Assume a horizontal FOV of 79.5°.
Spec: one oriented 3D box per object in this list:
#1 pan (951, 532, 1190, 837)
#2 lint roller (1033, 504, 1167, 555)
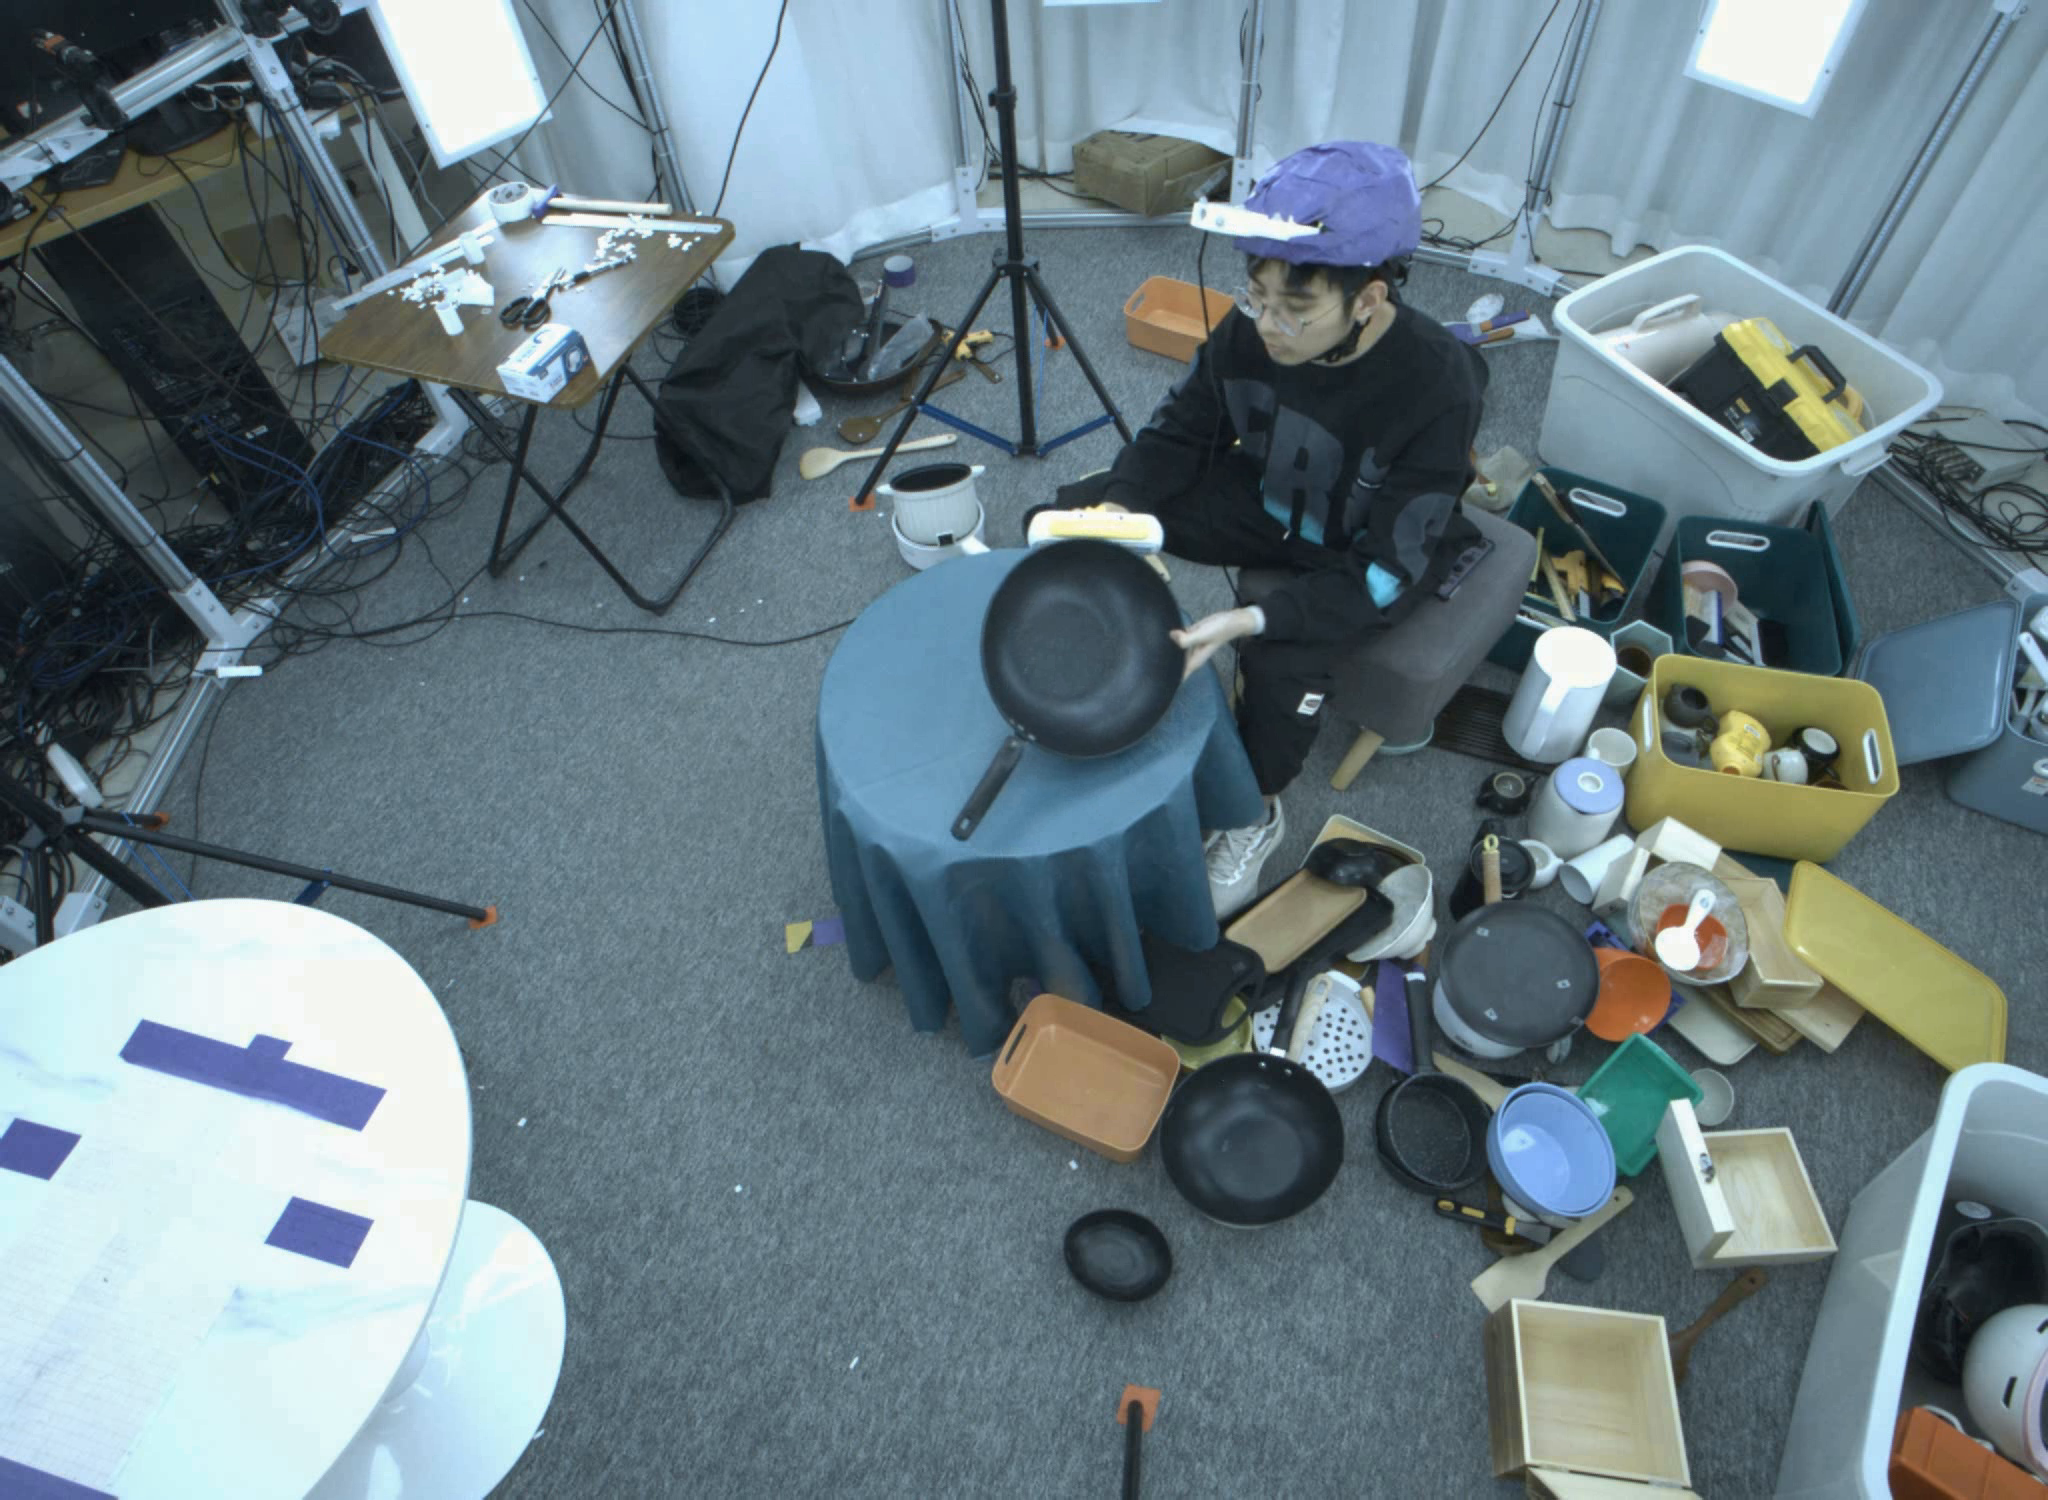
[{"bbox_3d":[0.033,-0.080,1.716,0.314,0.110,0.477,38,80,-18],"label":"pan"},{"bbox_3d":[0.096,-0.314,1.804,0.195,0.191,0.074,-4,89,-12],"label":"lint roller"}]
